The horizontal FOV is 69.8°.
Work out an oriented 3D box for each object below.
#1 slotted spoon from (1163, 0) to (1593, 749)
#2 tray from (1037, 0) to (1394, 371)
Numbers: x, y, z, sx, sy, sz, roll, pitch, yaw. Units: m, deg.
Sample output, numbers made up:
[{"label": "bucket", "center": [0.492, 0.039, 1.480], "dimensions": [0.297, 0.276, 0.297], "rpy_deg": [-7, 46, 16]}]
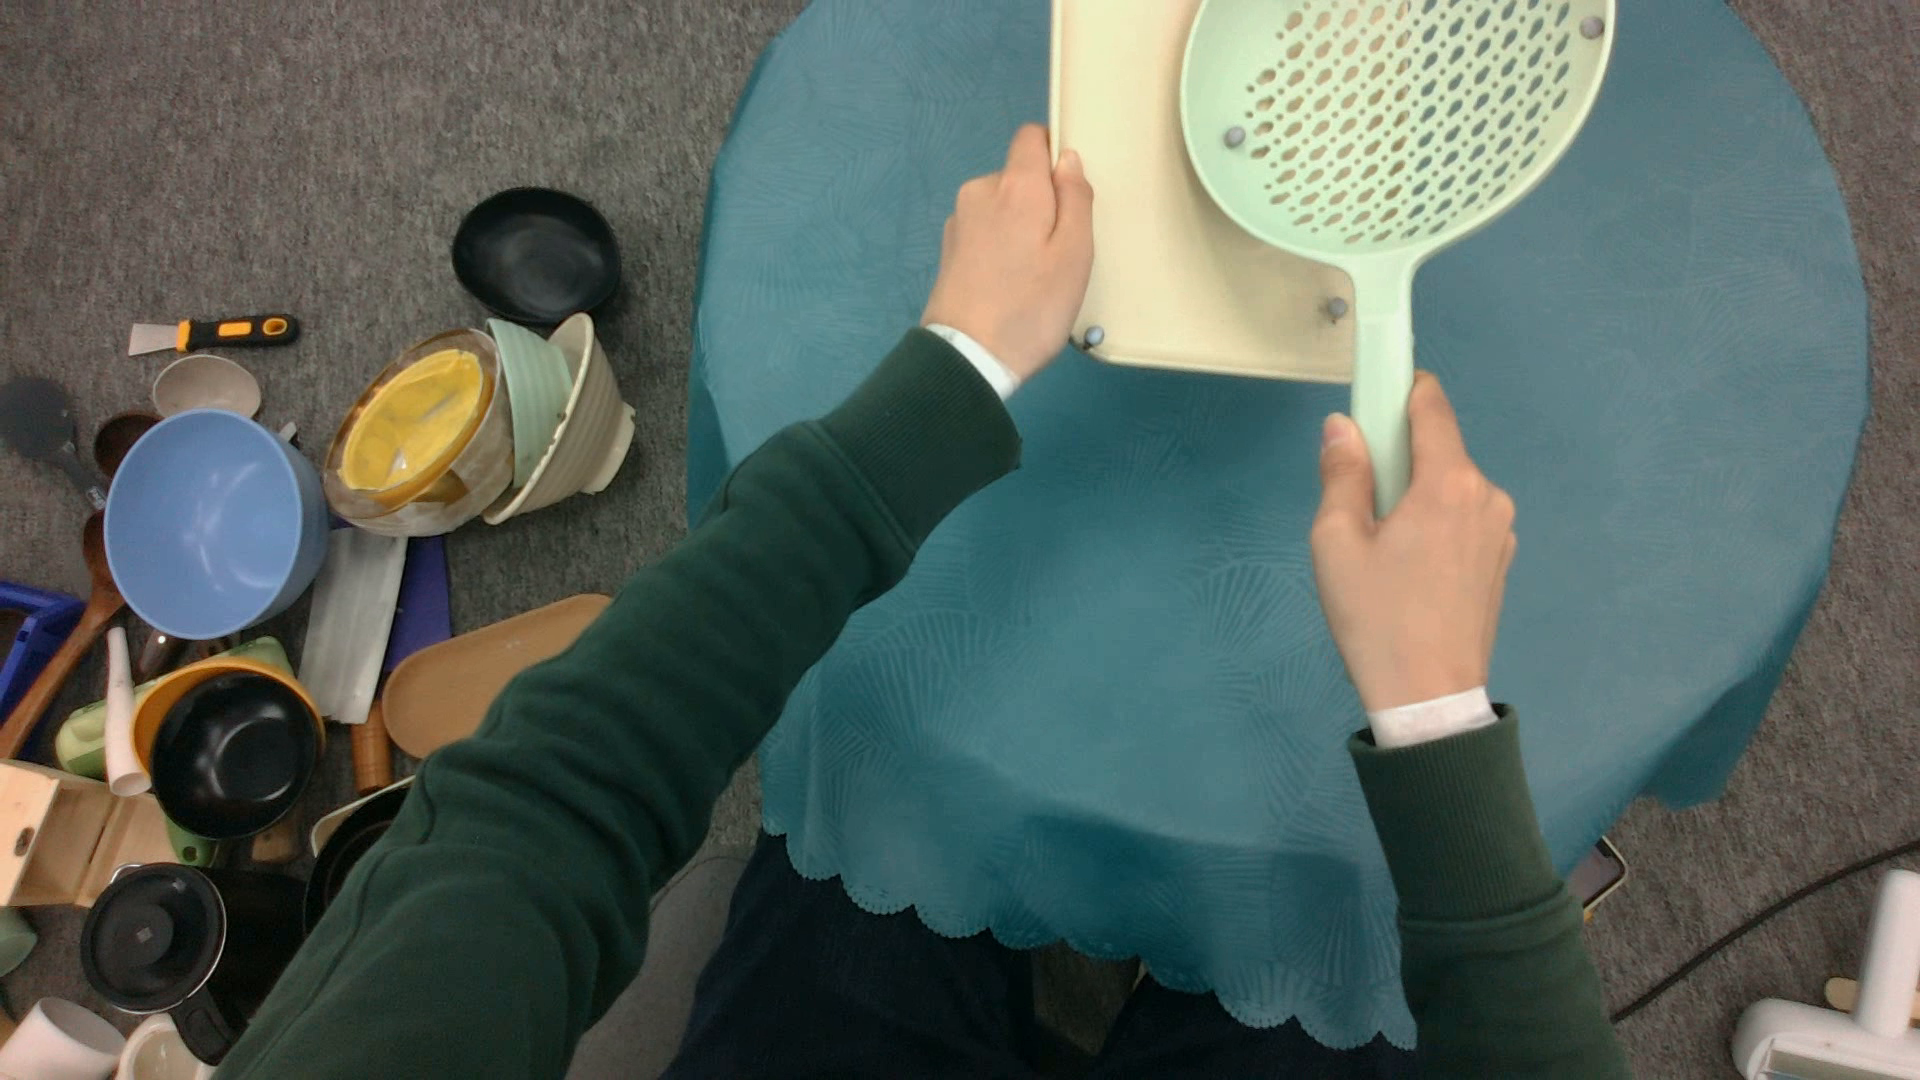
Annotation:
[{"label": "slotted spoon", "center": [0.164, -0.100, 0.549], "dimensions": [0.169, 0.075, 0.359], "rpy_deg": [-2, 75, 32]}, {"label": "tray", "center": [0.113, -0.195, 0.605], "dimensions": [0.171, 0.017, 0.240], "rpy_deg": [2, 86, -17]}]
